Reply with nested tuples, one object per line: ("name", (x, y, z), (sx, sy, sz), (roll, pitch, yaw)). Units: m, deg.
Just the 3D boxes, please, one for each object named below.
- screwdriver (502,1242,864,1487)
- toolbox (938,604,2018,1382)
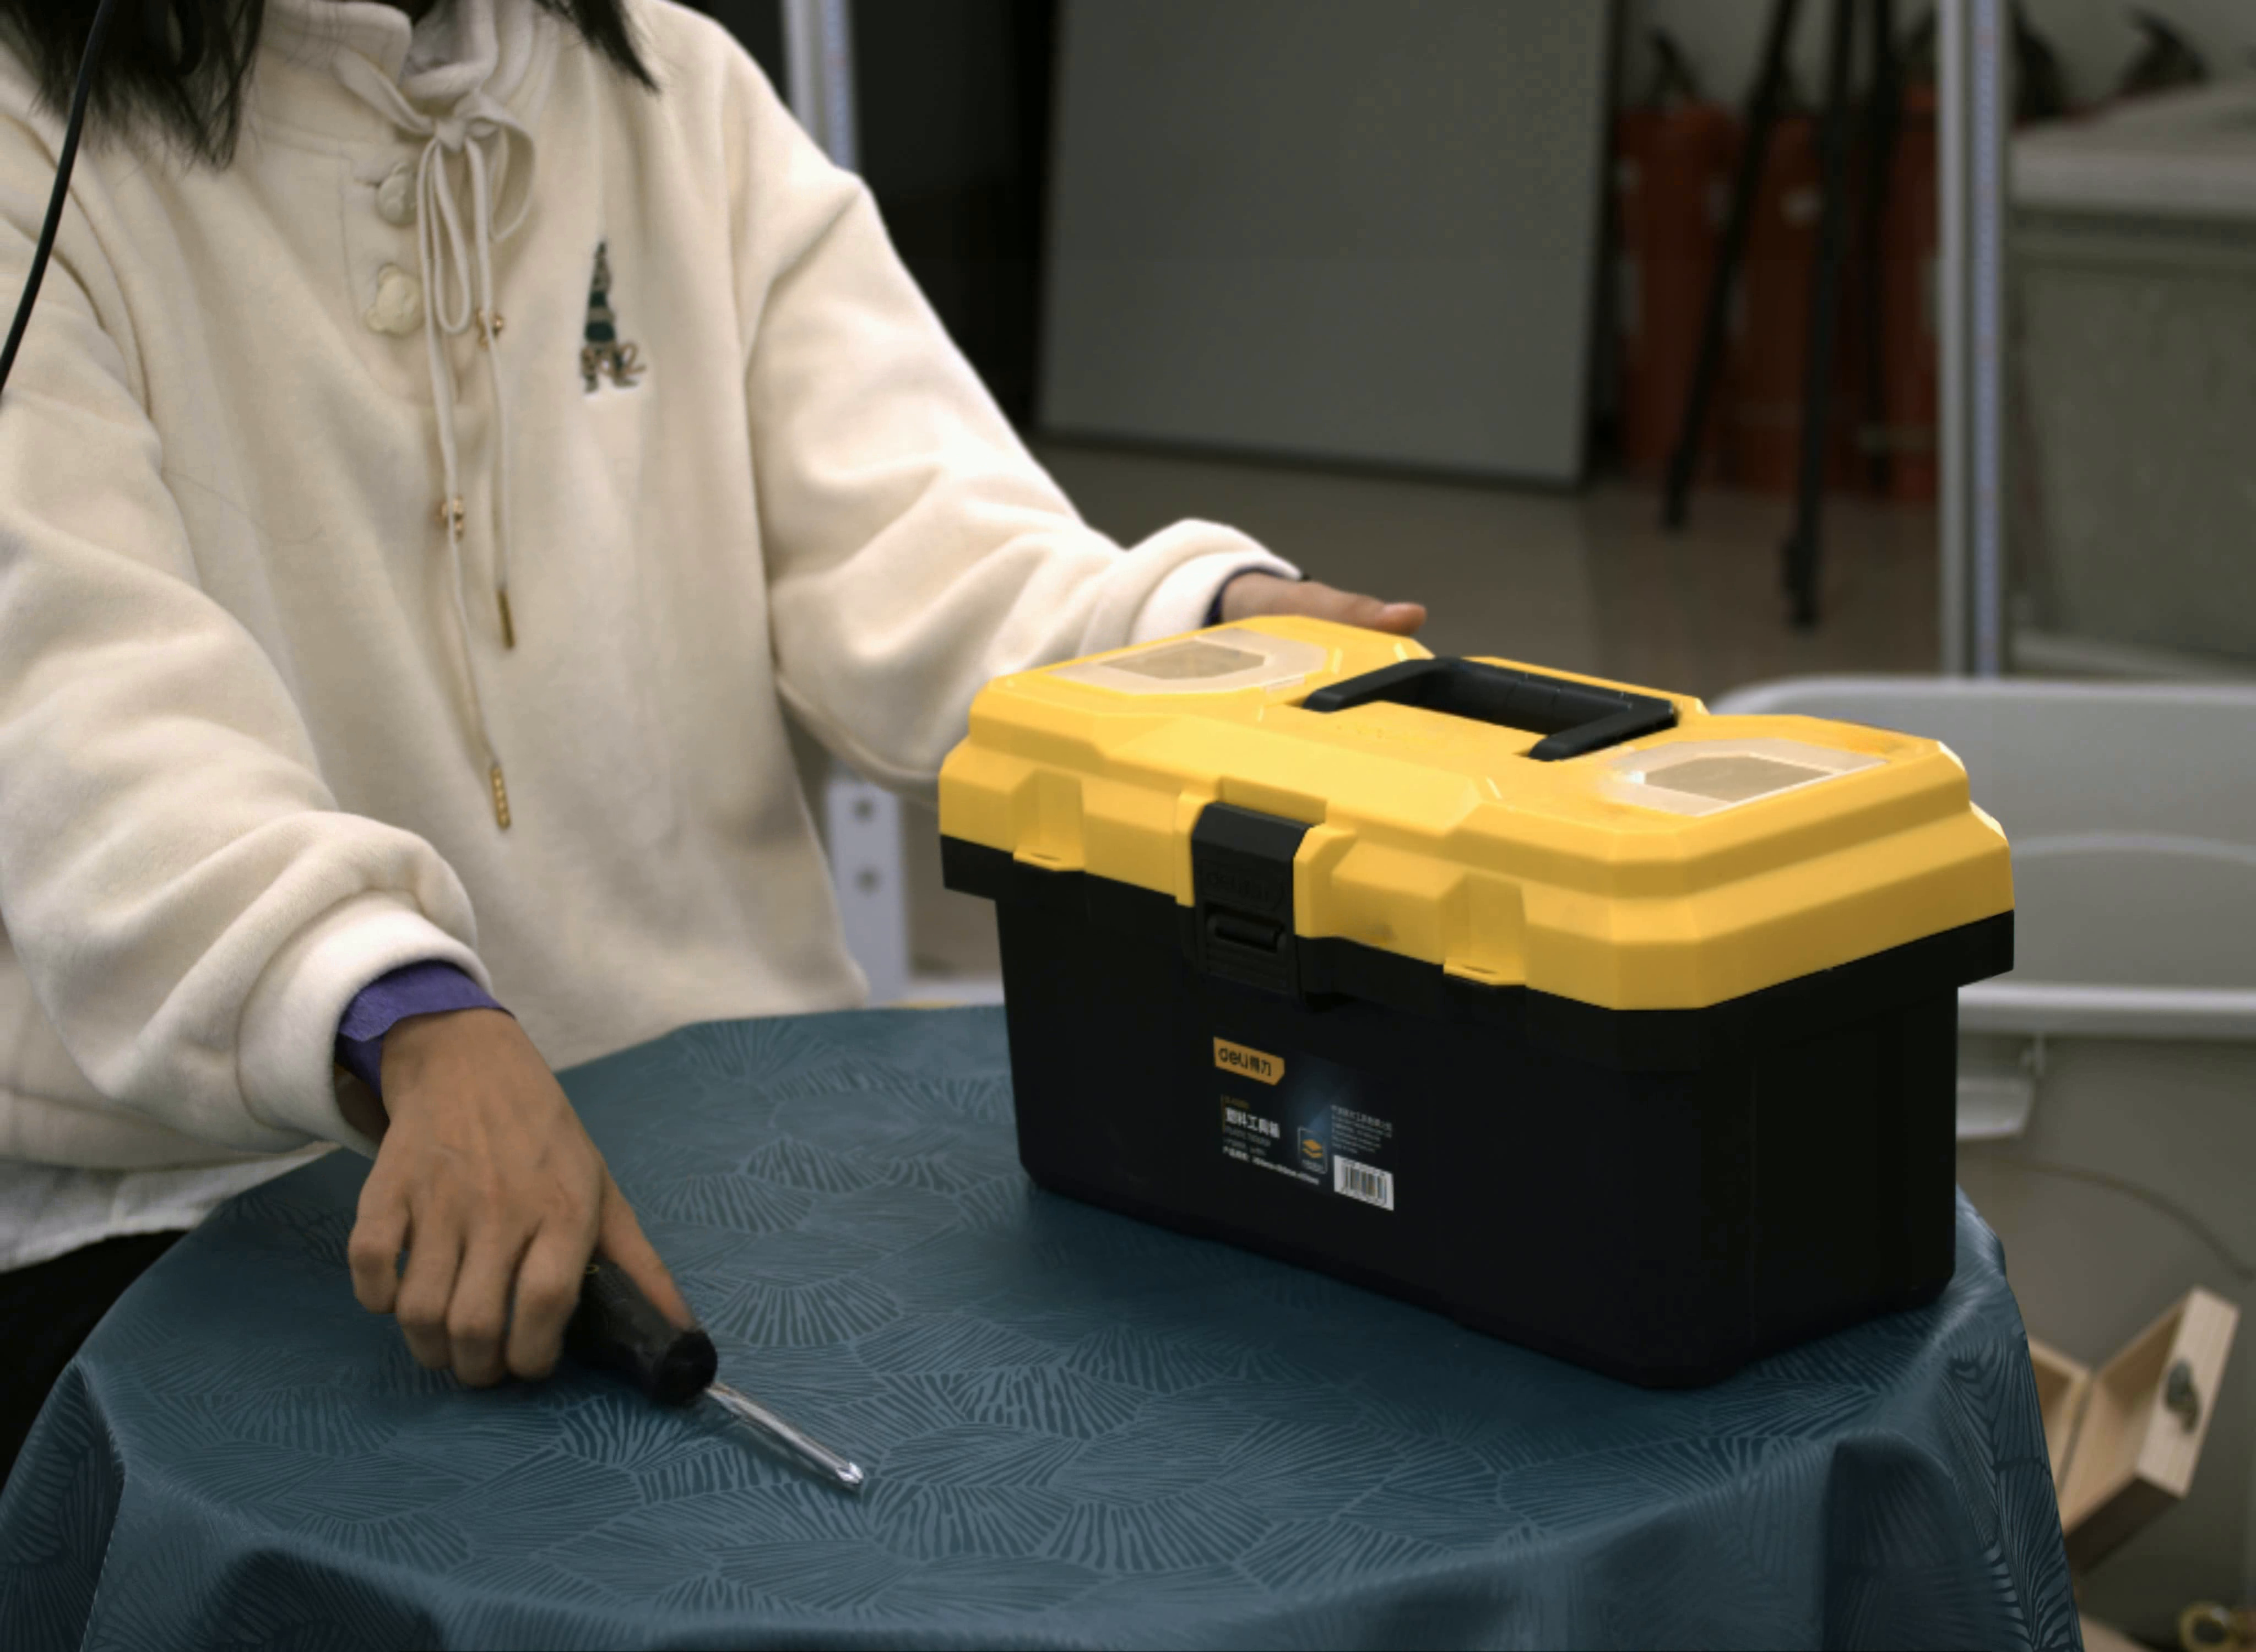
("screwdriver", (-0.131, 0.158, 1.591), (0.031, 0.032, 0.198), (-12, 17, -31))
("toolbox", (0.102, 0.045, 1.683), (0.177, 0.175, 0.355), (-14, 17, -36))
